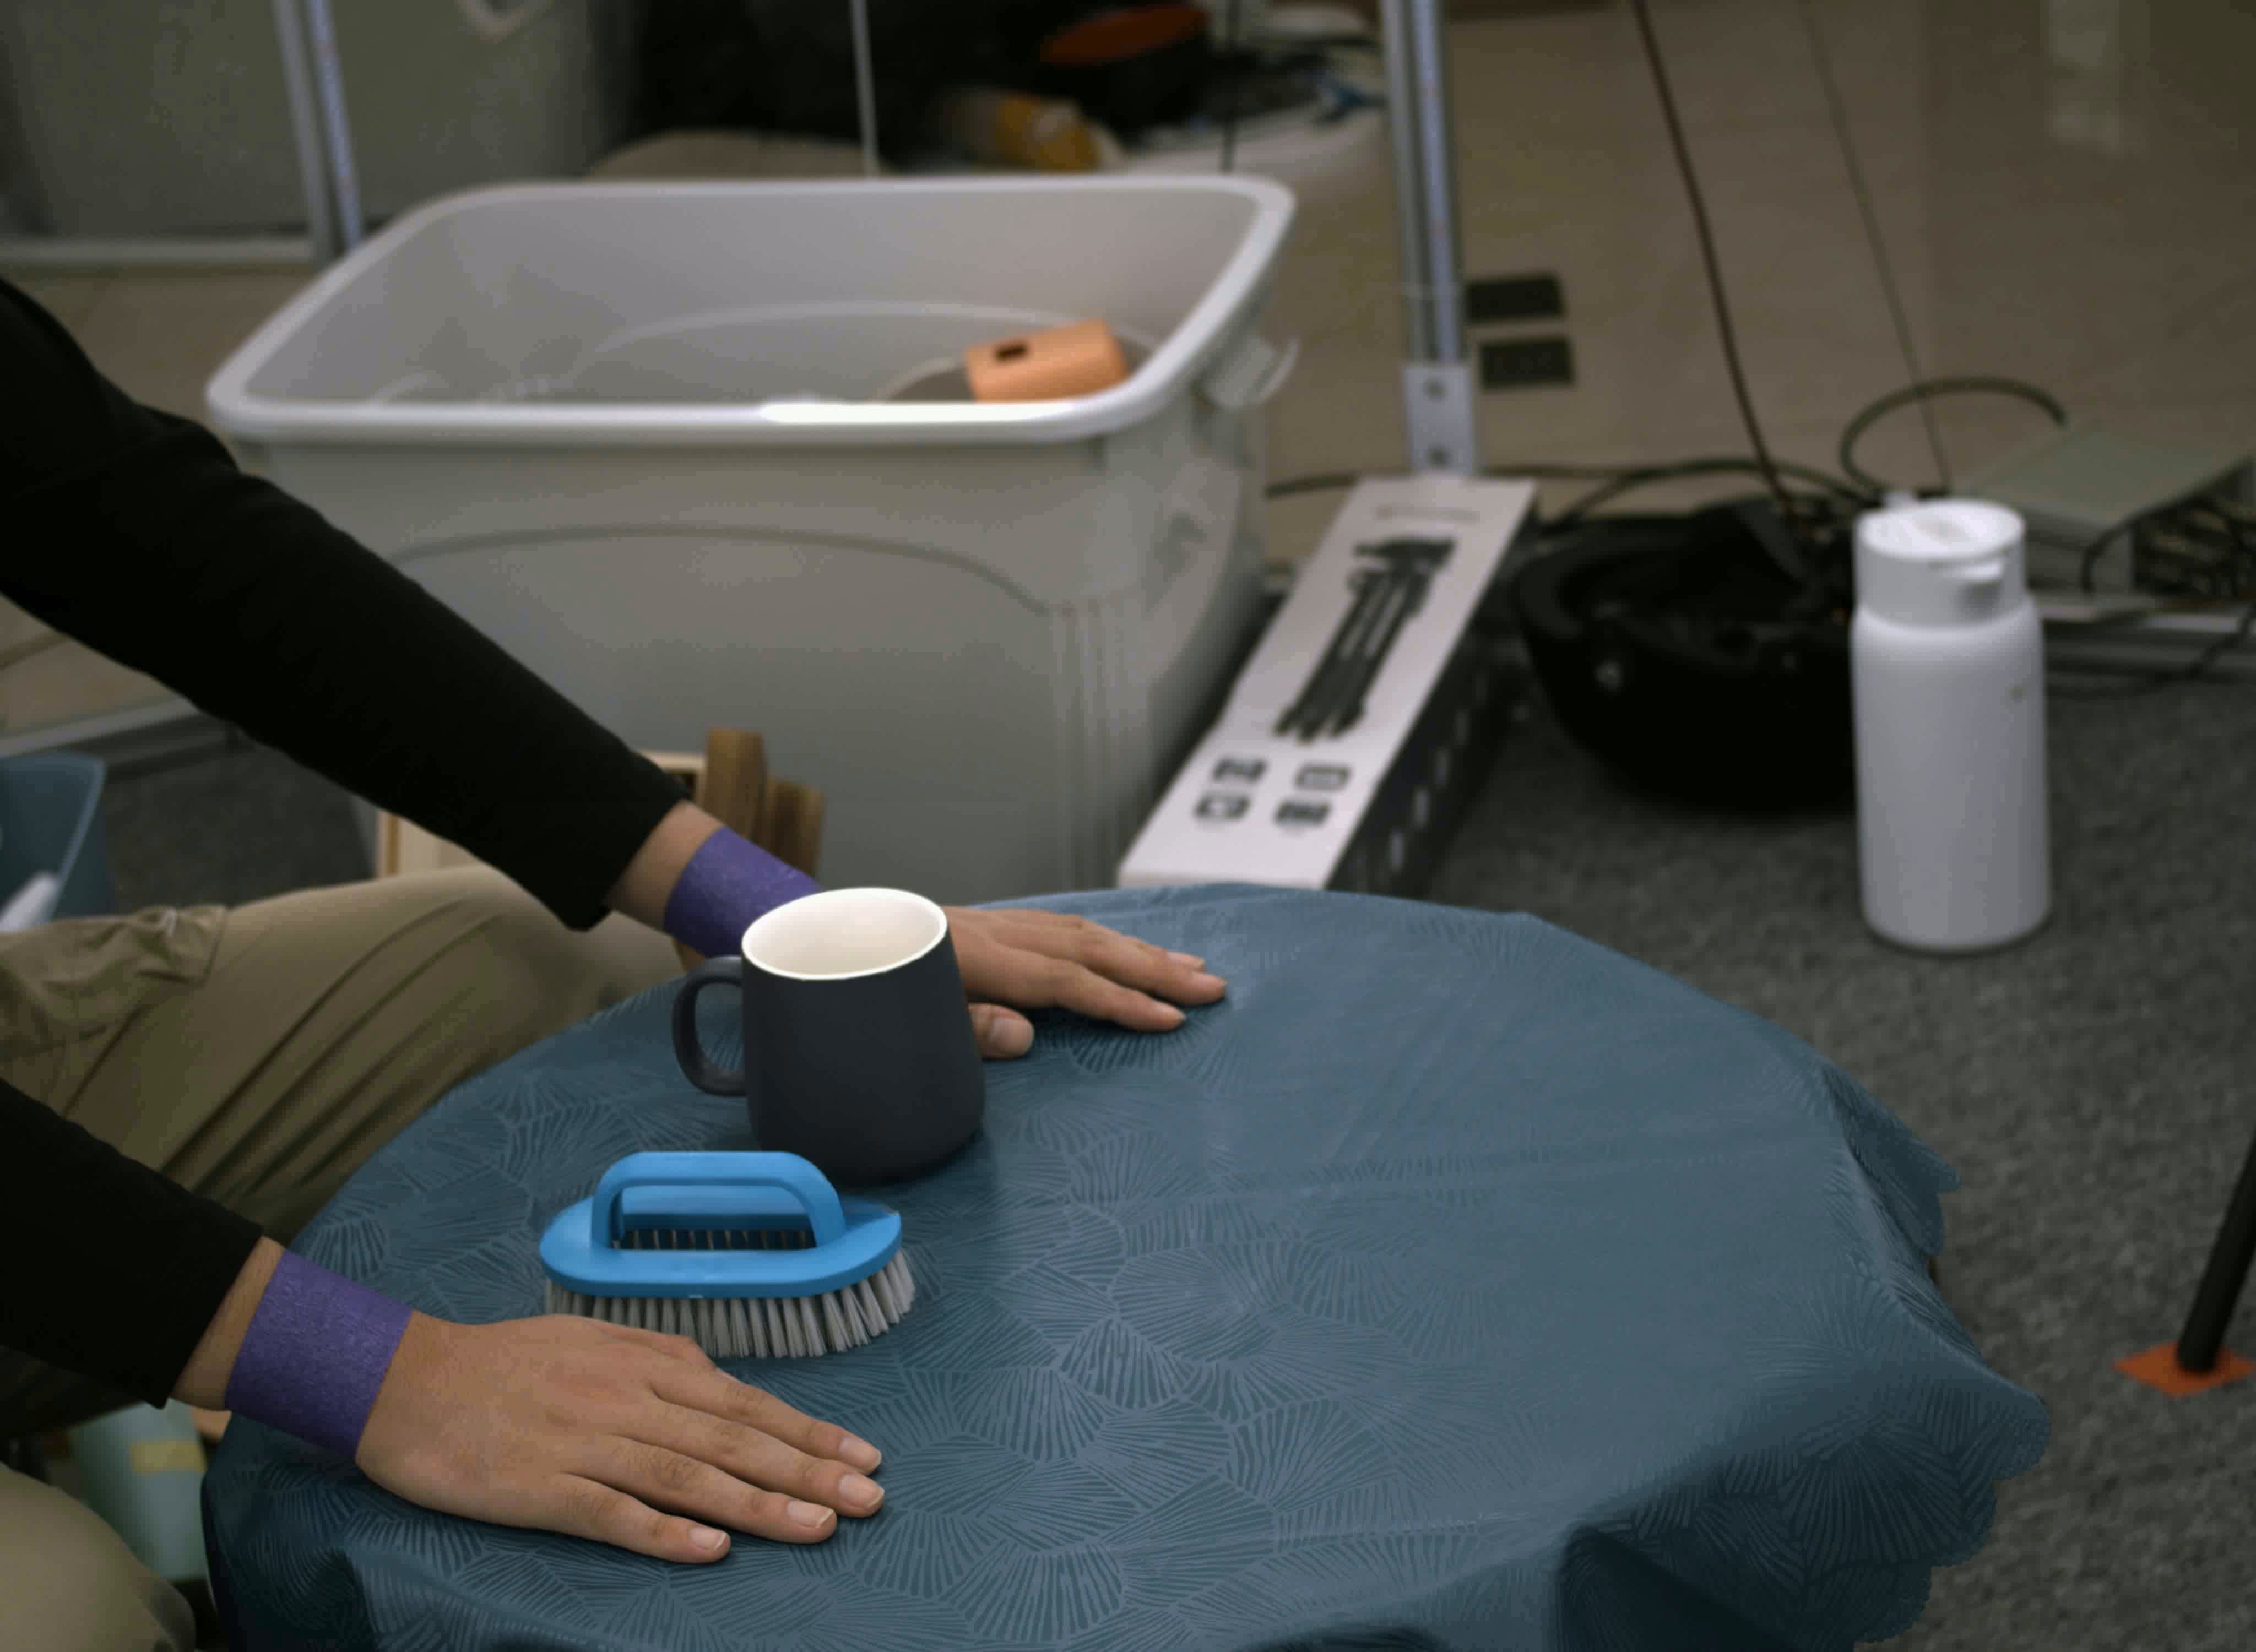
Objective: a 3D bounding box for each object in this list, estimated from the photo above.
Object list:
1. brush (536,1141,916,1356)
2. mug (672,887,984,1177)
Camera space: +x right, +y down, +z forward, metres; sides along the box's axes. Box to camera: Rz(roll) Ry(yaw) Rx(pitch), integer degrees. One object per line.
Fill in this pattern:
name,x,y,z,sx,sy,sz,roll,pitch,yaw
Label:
brush,-0.152,0.147,2.088,0.141,0.065,0.083,-1,30,15
mug,-0.119,0.079,2.193,0.123,0.091,0.092,5,27,19
